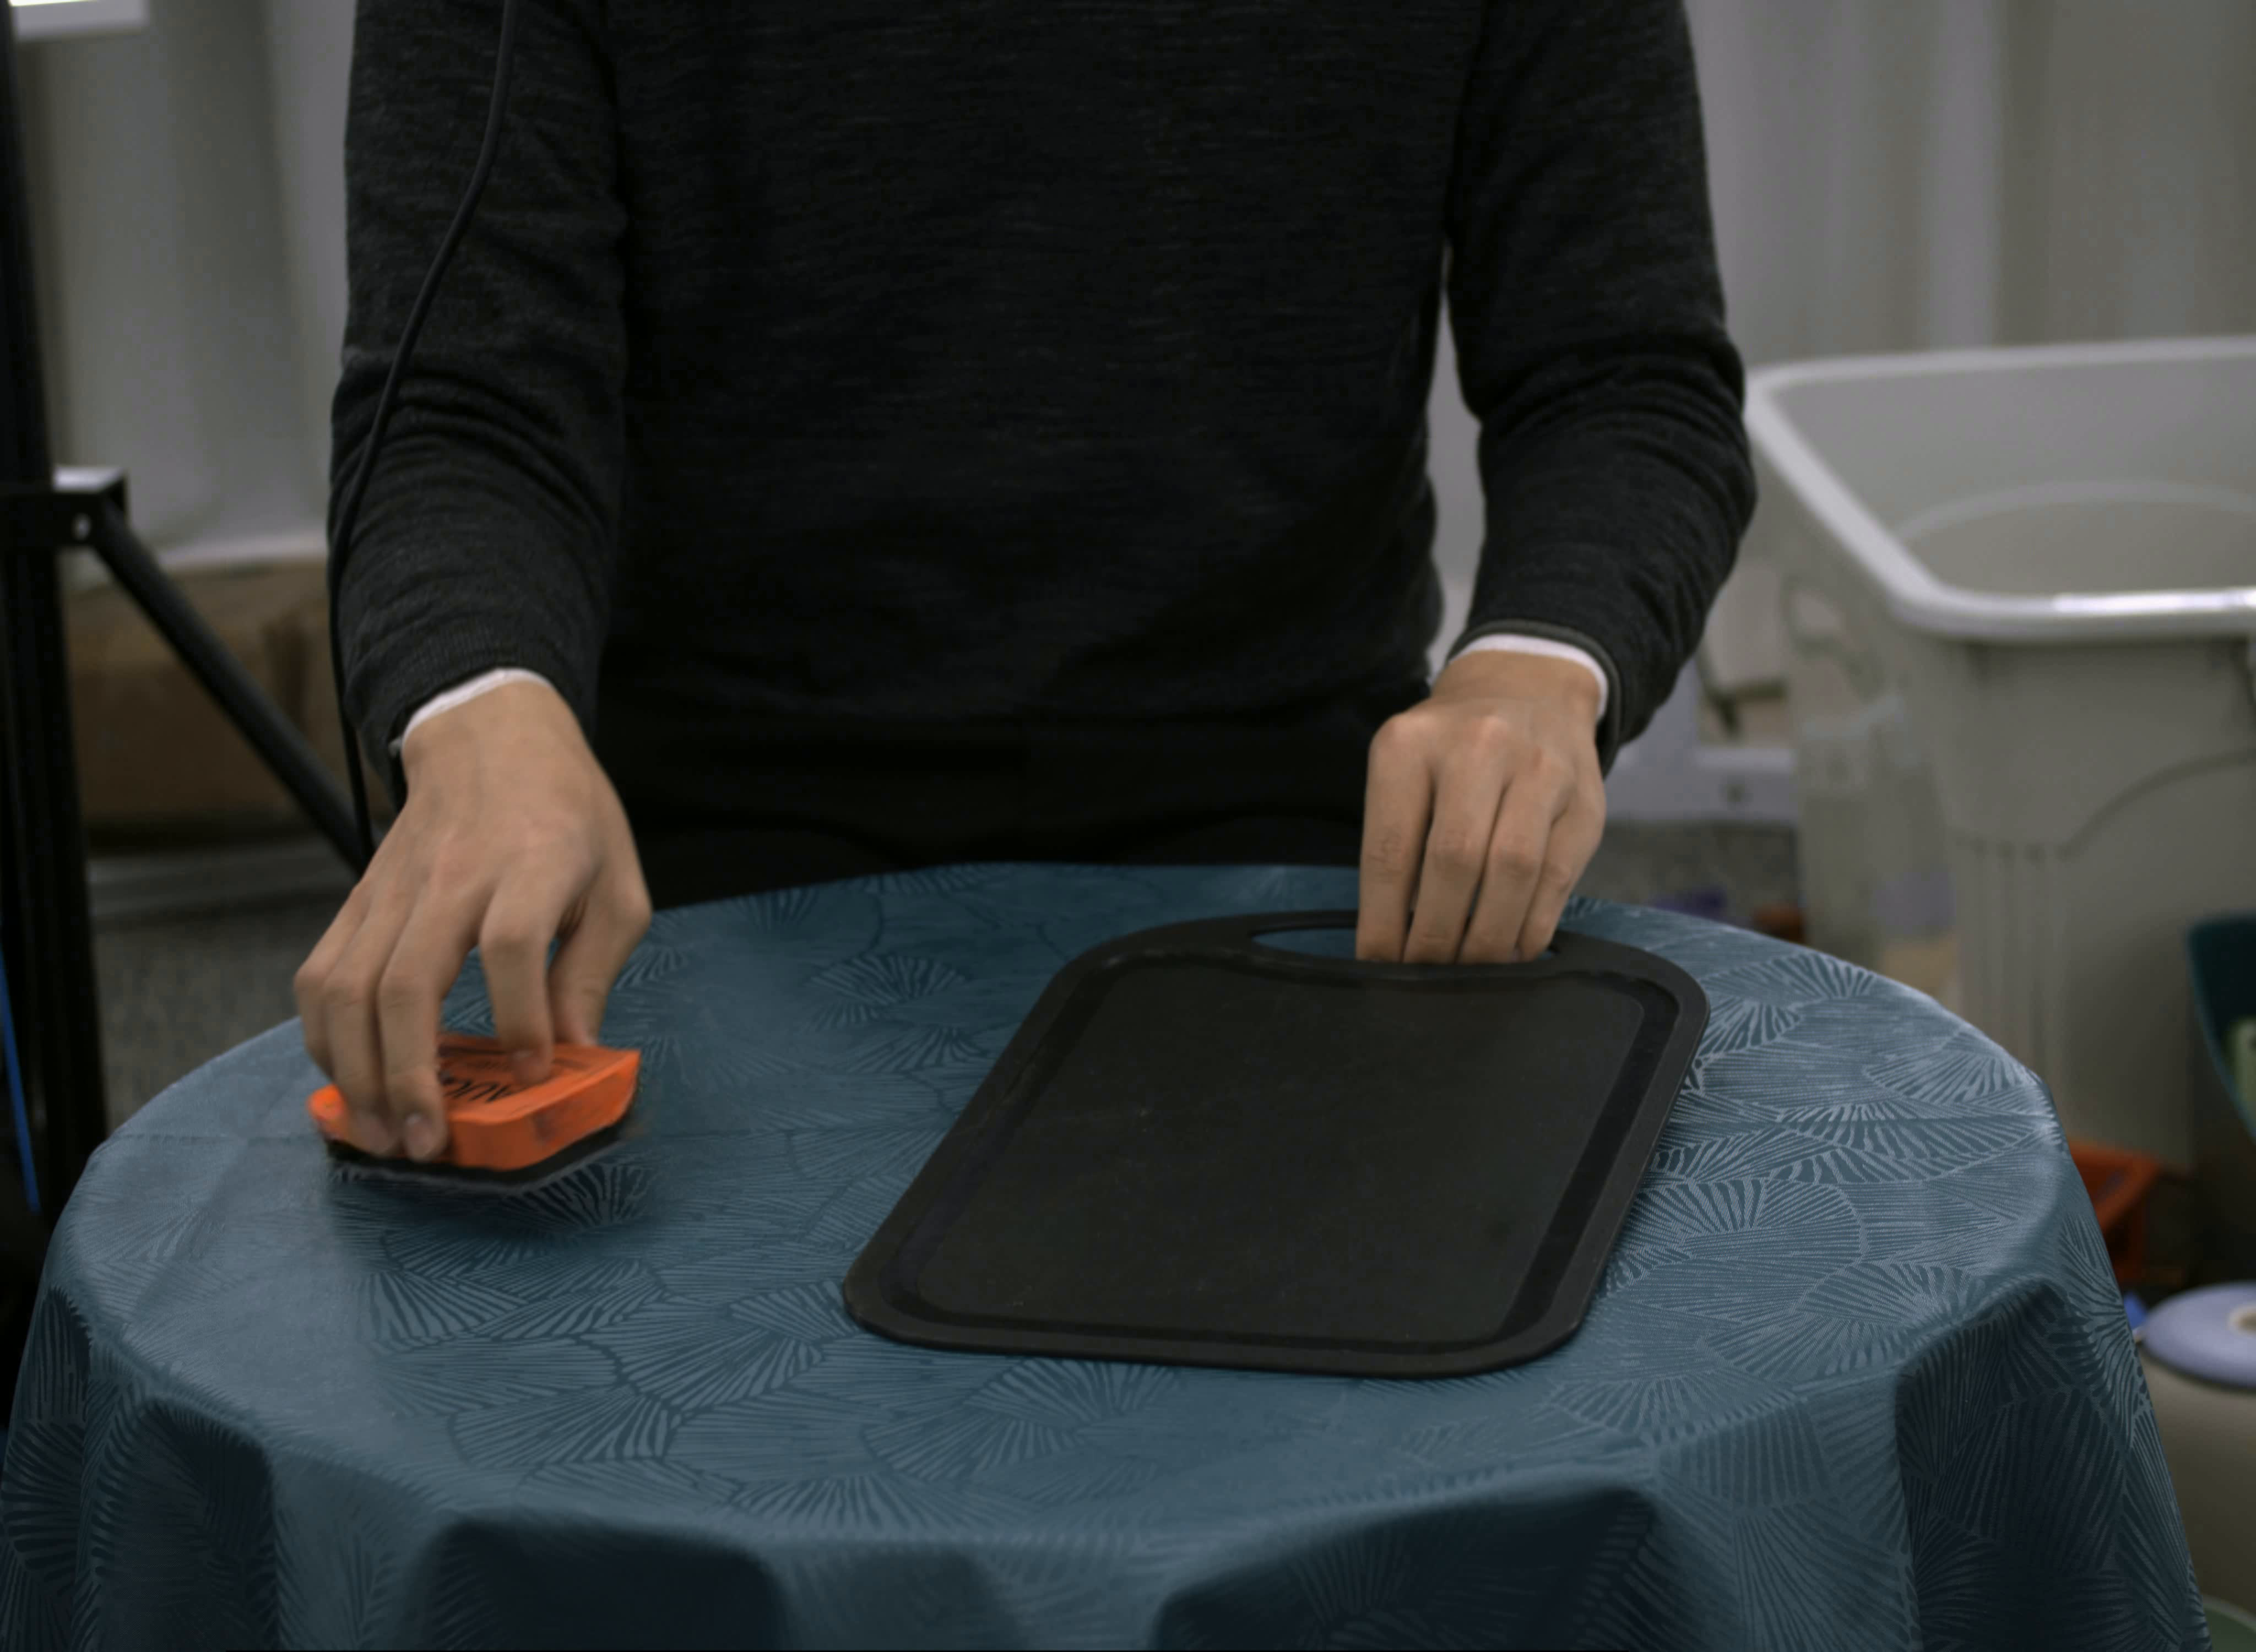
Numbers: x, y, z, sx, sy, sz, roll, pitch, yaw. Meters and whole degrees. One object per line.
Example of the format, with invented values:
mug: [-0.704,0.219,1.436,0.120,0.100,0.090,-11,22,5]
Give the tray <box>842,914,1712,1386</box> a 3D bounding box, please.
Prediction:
tray: [0.052,0.086,1.568,0.213,0.010,0.323,3,22,16]

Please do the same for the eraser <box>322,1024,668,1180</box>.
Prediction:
eraser: [-0.188,0.081,1.582,0.058,0.023,0.110,-24,17,-37]
